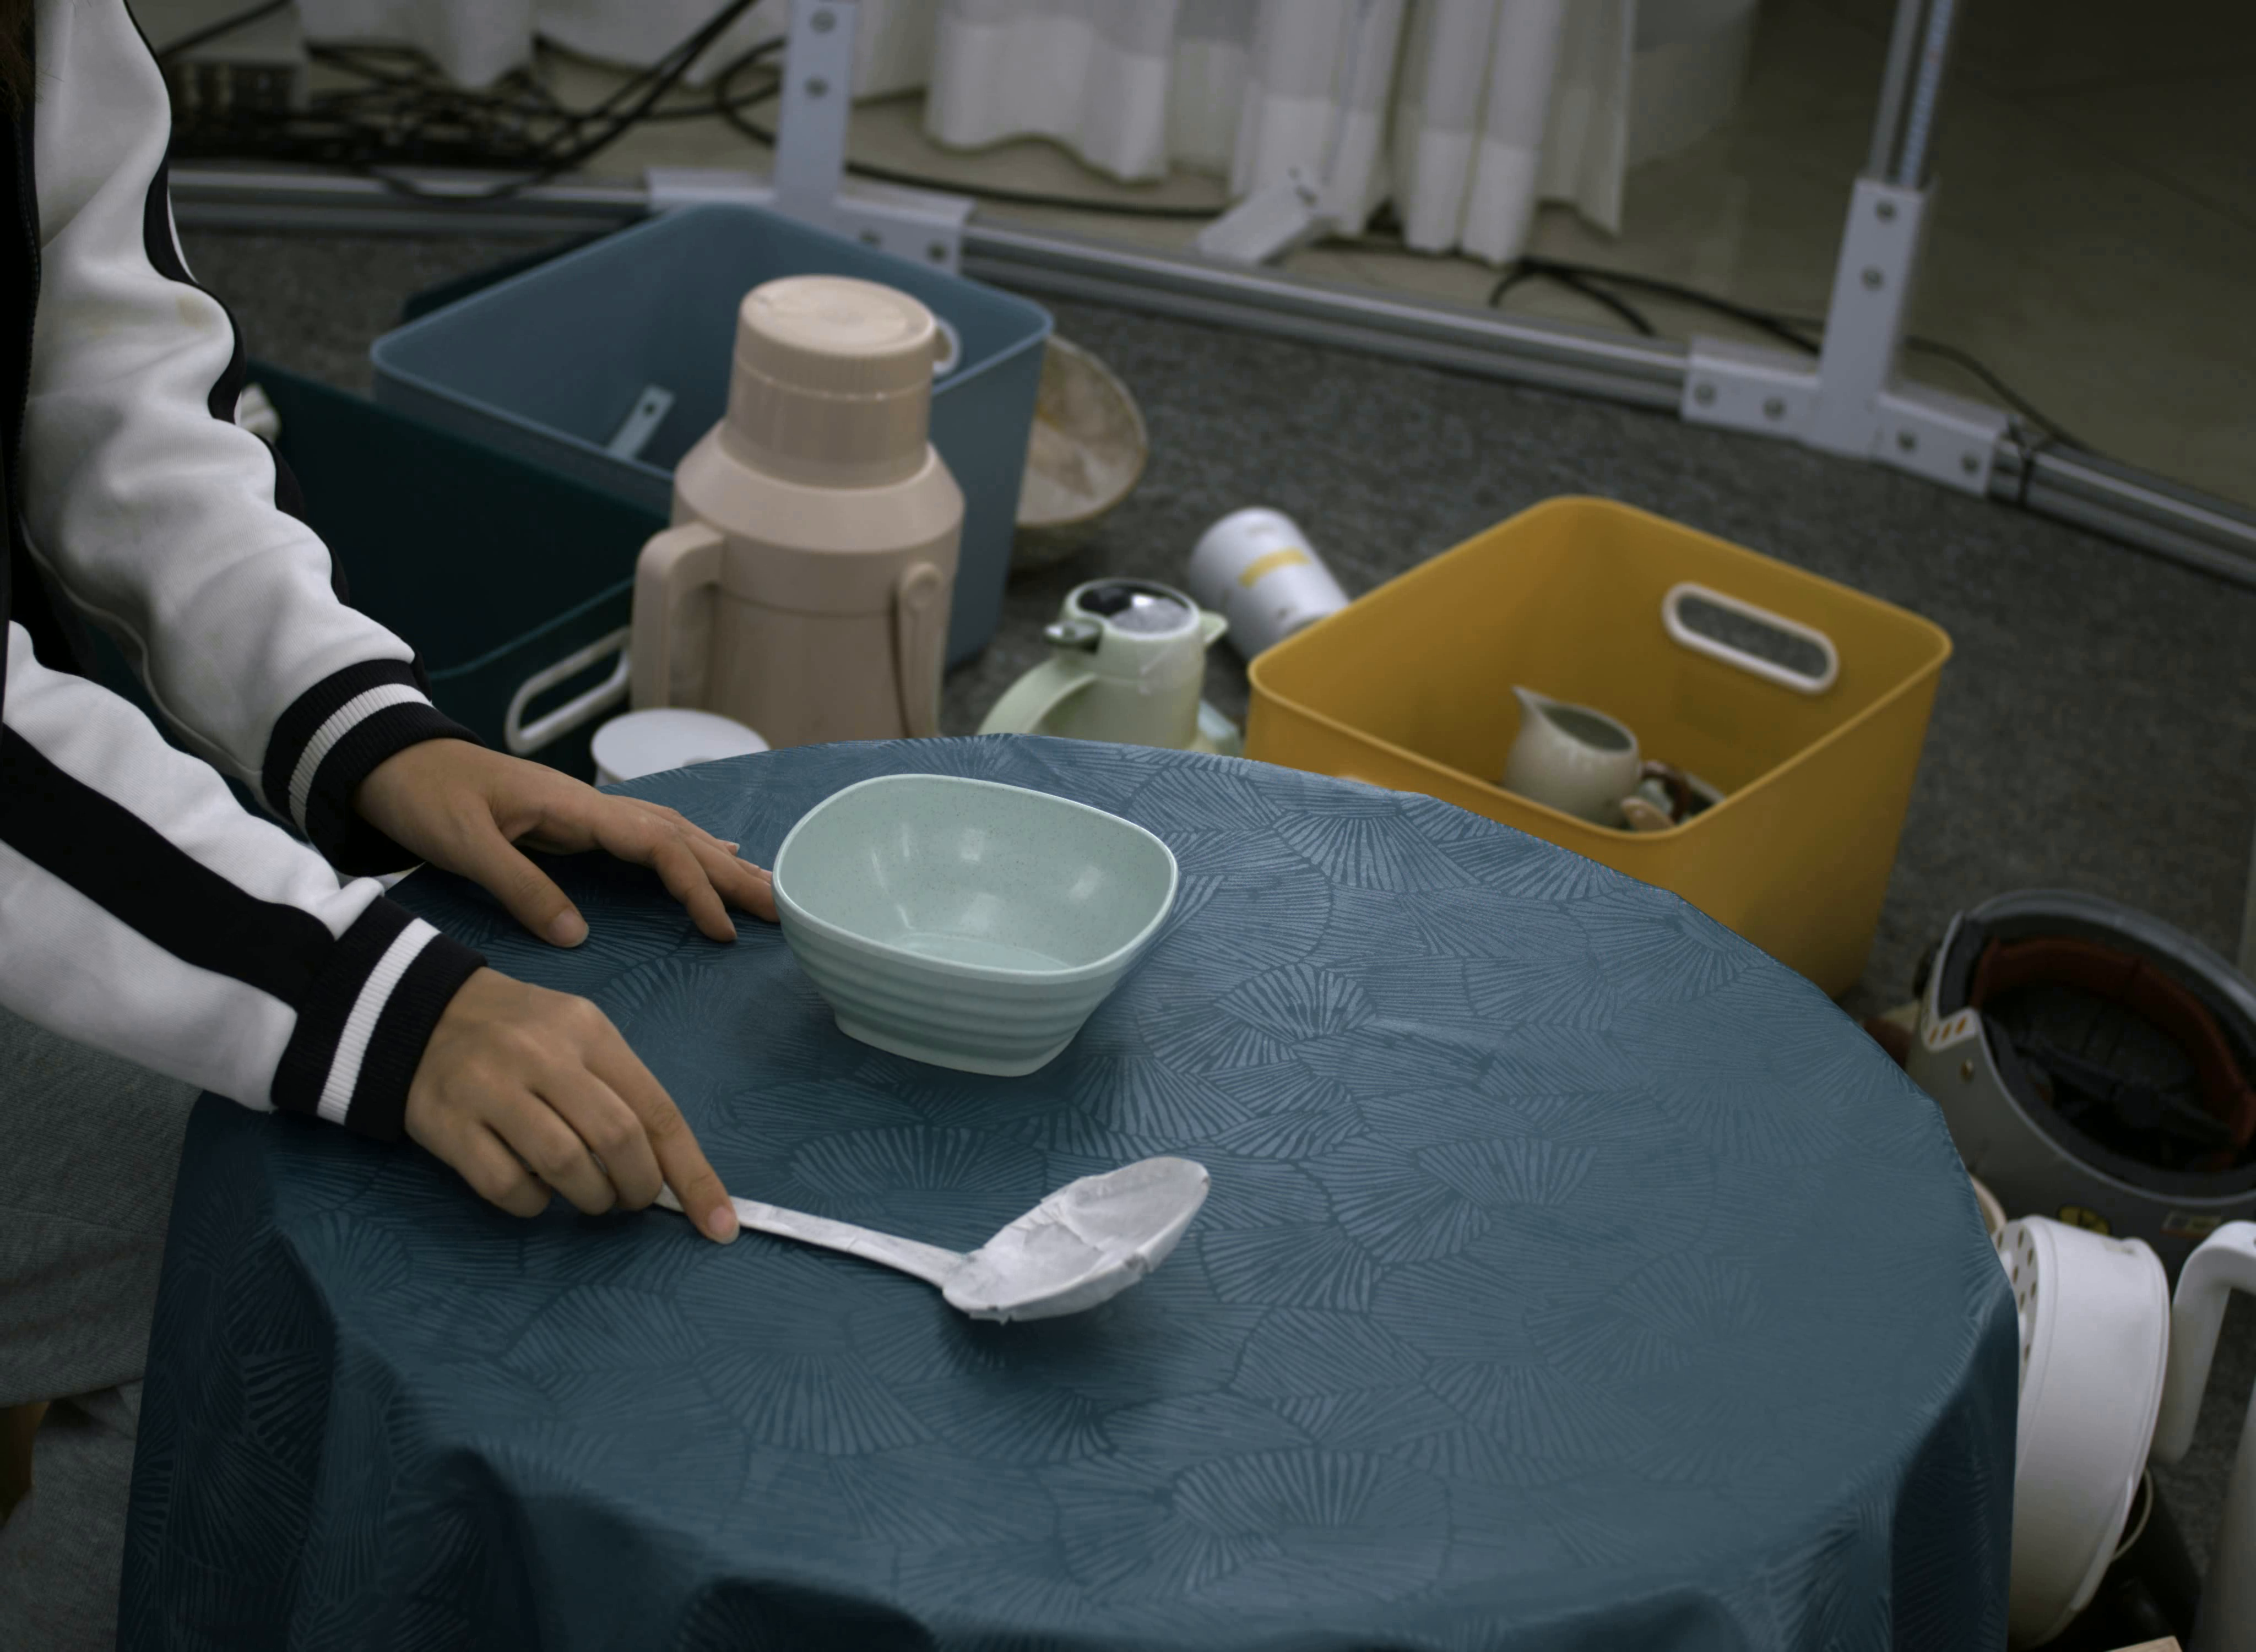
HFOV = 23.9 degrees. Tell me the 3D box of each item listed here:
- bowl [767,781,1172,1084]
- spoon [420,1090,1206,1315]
[{"bbox_3d":[-0.058,0.043,1.890,0.151,0.058,0.152,6,26,-3],"label":"bowl"},{"bbox_3d":[-0.107,0.105,1.752,0.278,0.059,0.100,16,23,18],"label":"spoon"}]
